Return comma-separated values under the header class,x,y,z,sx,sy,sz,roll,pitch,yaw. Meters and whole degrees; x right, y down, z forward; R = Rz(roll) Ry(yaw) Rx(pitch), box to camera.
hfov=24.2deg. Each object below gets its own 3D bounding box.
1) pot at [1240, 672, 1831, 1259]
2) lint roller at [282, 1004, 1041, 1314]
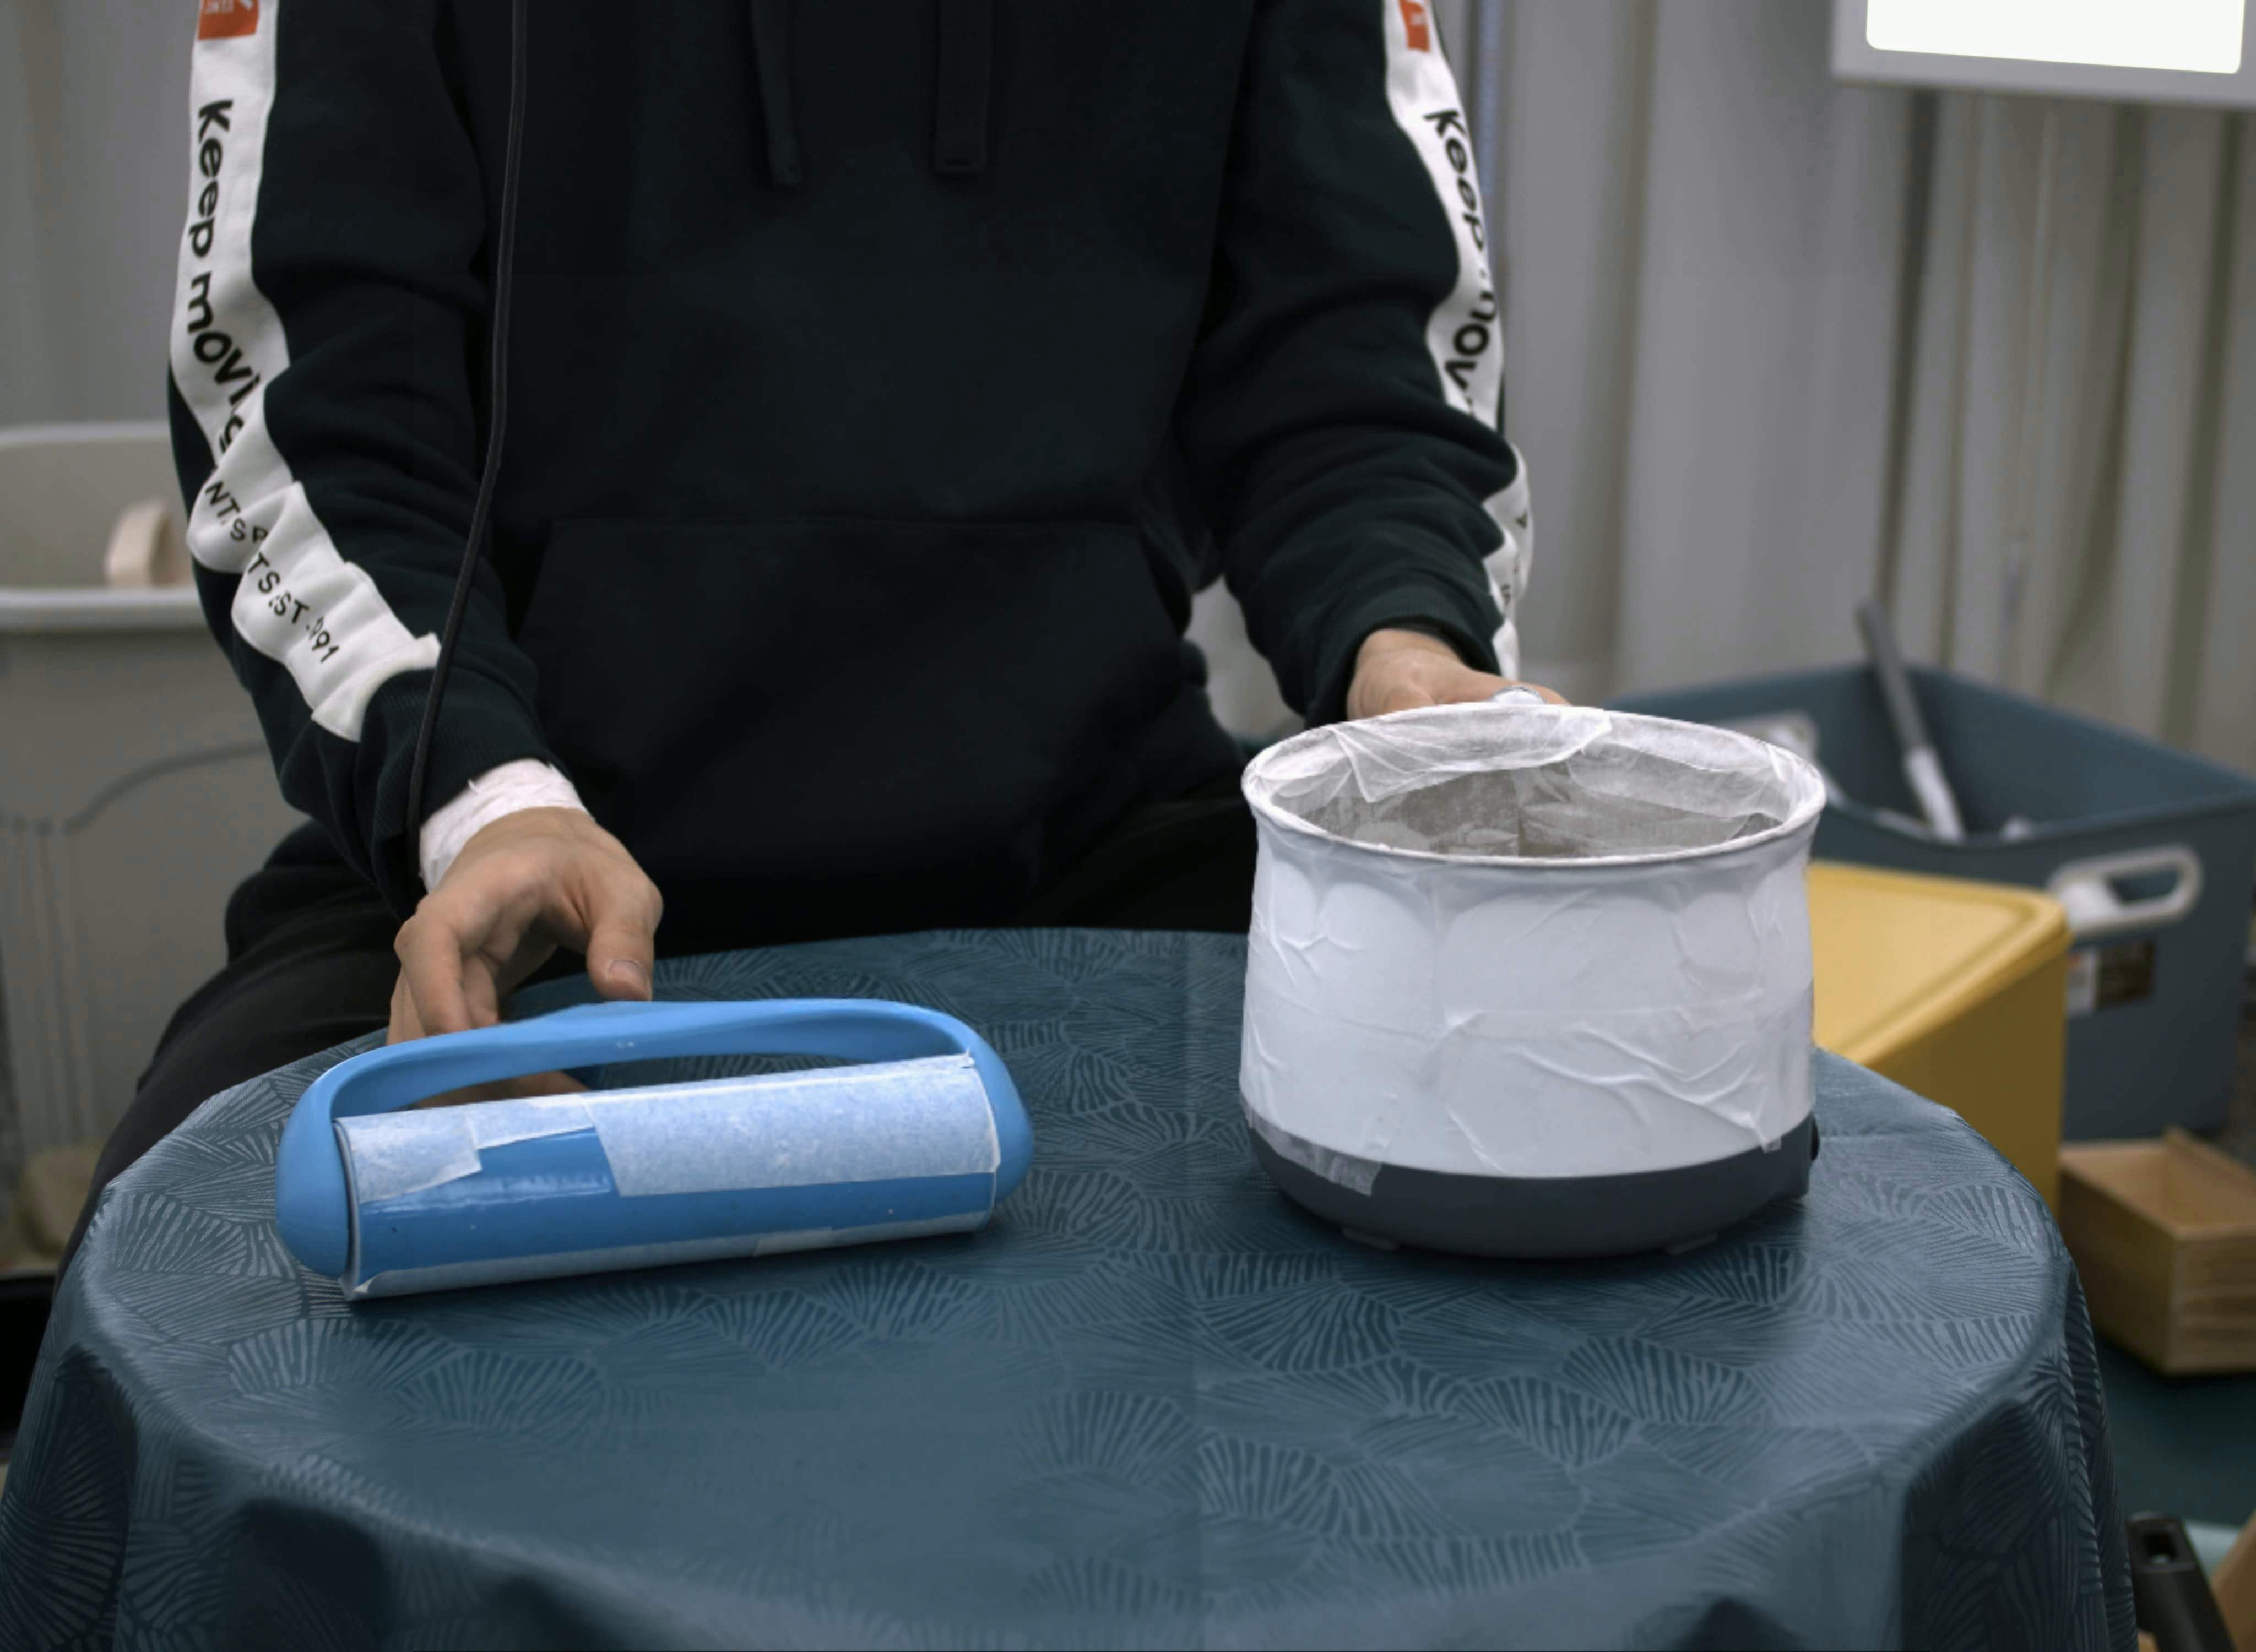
class,x,y,z,sx,sy,sz,roll,pitch,yaw
pot,0.122,0.037,1.627,0.178,0.138,0.232,1,17,0
lint roller,-0.157,0.088,1.598,0.229,0.068,0.178,-8,18,-22
